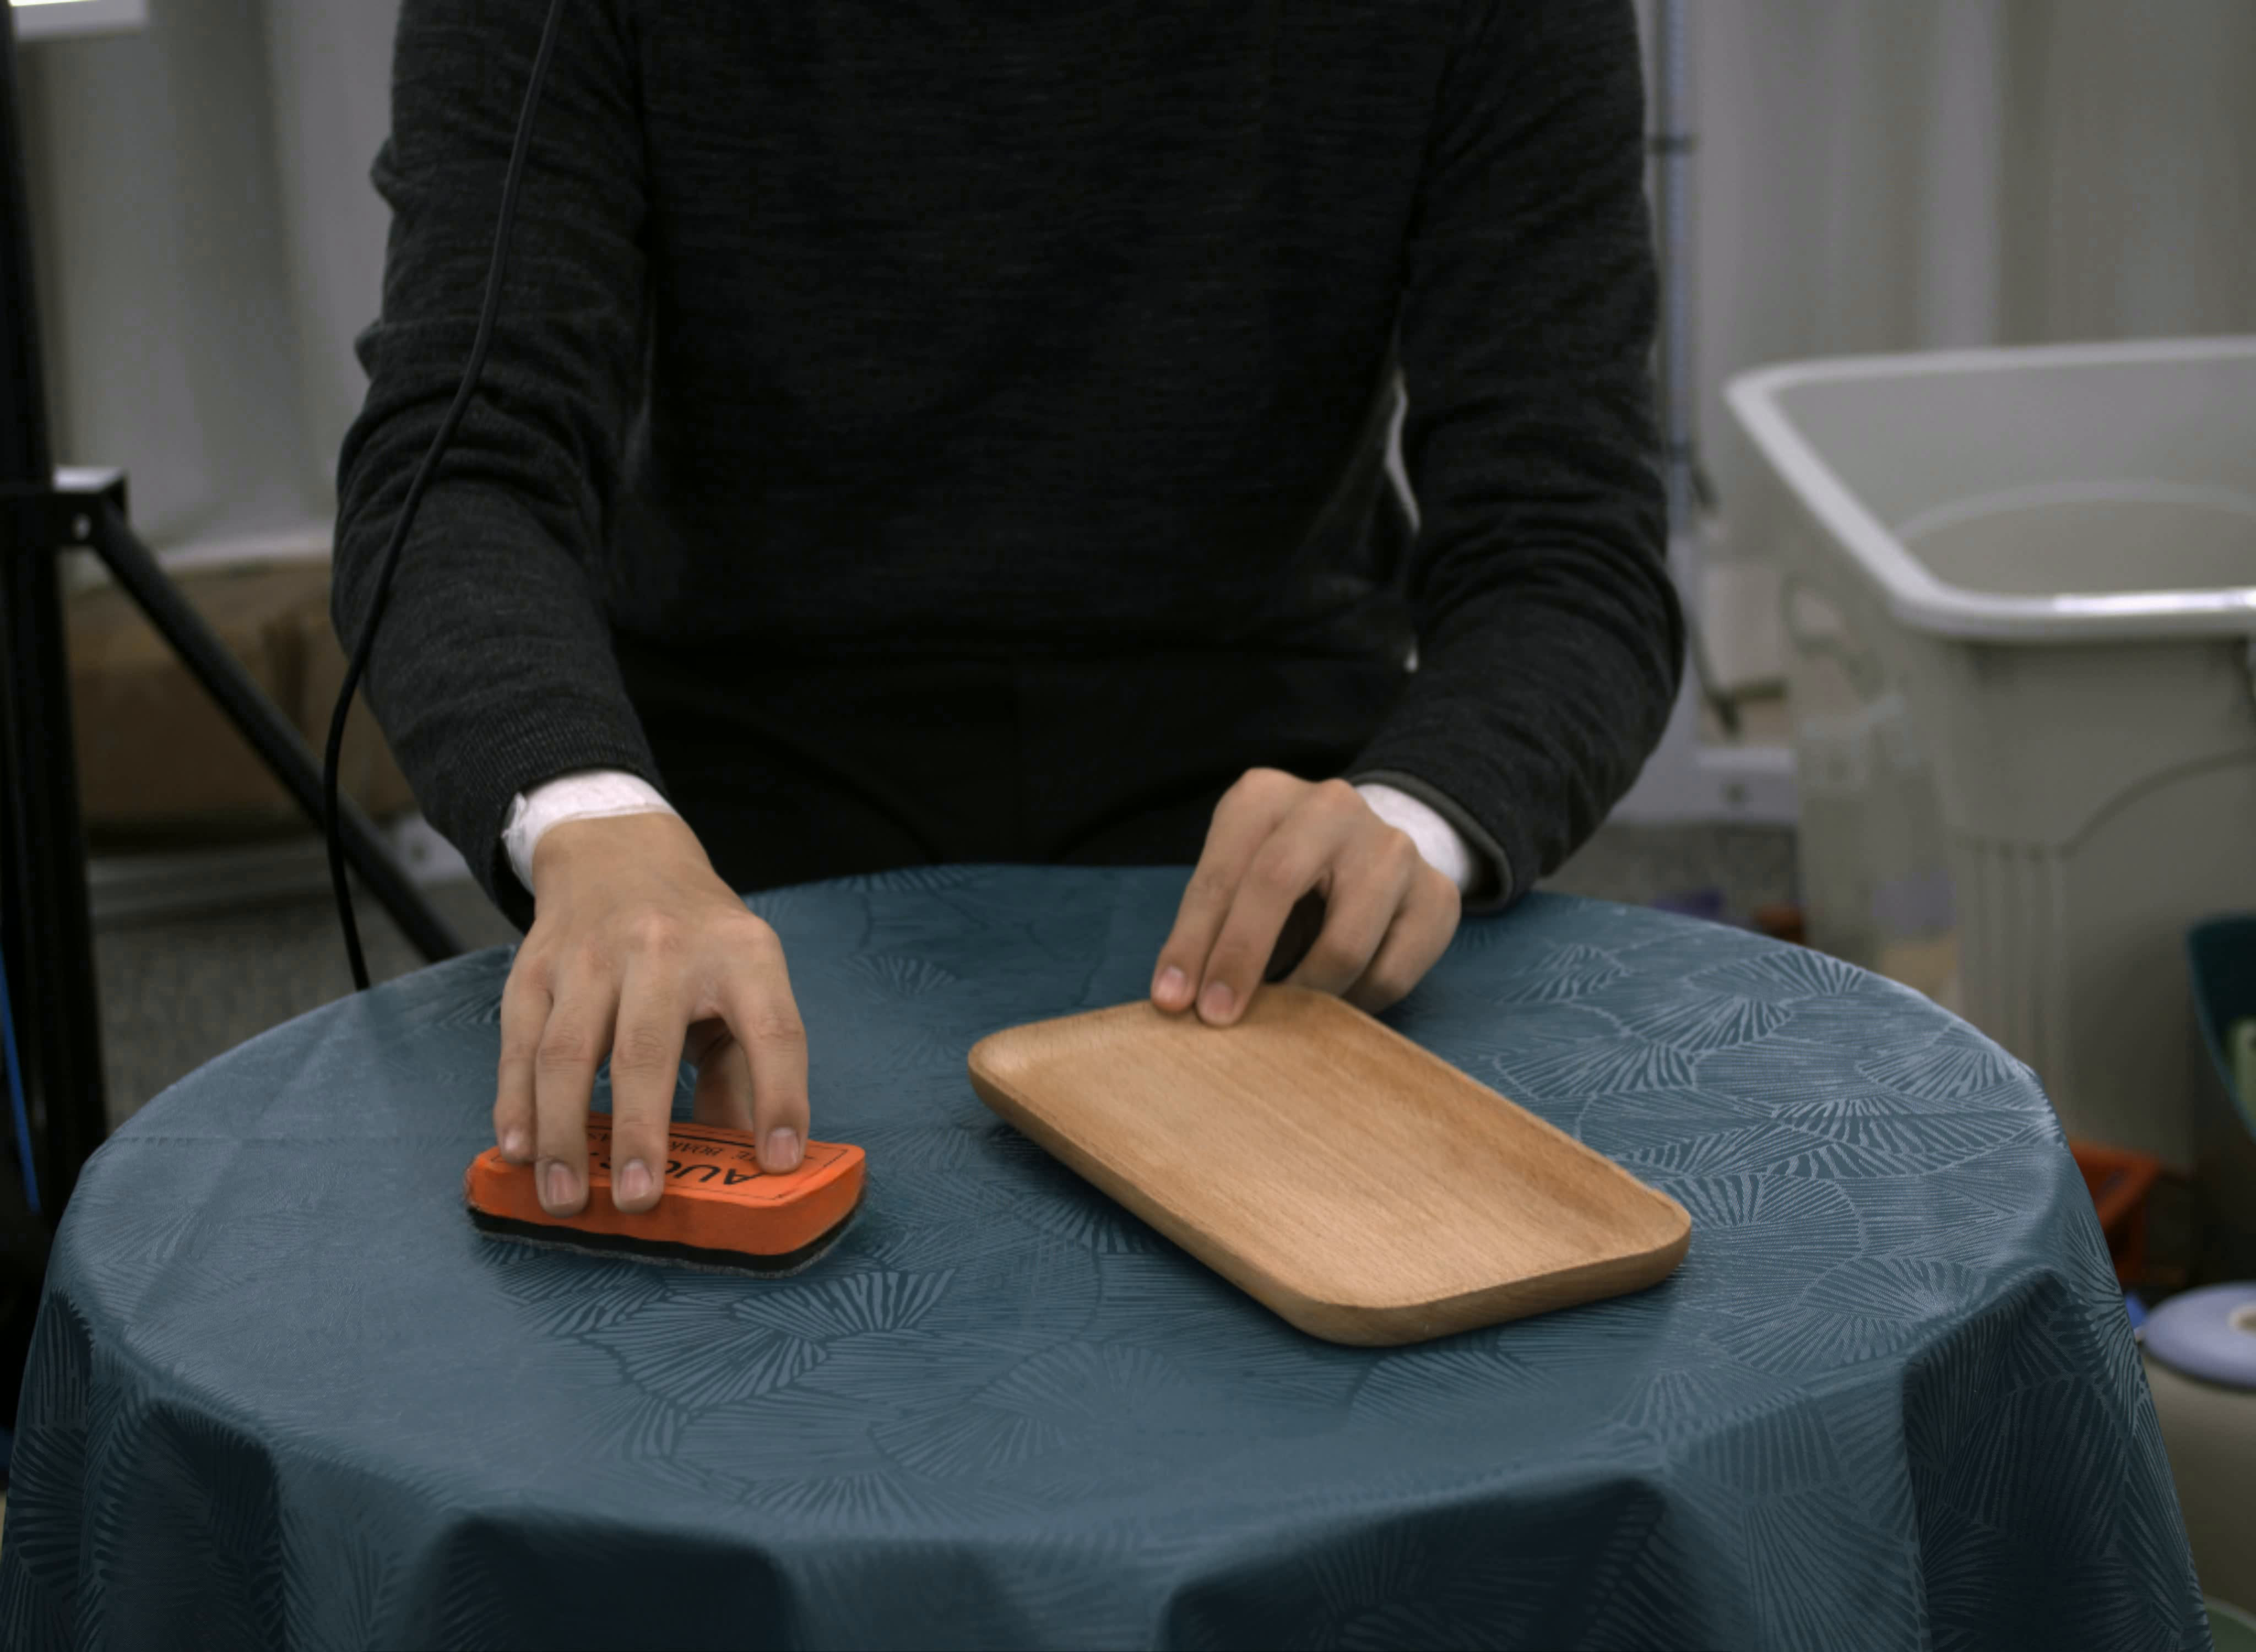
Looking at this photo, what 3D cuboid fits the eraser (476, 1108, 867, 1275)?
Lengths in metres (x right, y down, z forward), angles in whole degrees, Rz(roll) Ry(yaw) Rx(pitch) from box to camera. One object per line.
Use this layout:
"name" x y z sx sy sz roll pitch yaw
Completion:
"eraser" -0.132 0.106 1.544 0.110 0.023 0.058 6 16 29

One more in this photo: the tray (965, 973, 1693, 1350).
"tray" 0.054 0.094 1.543 0.128 0.023 0.256 -8 19 -24
